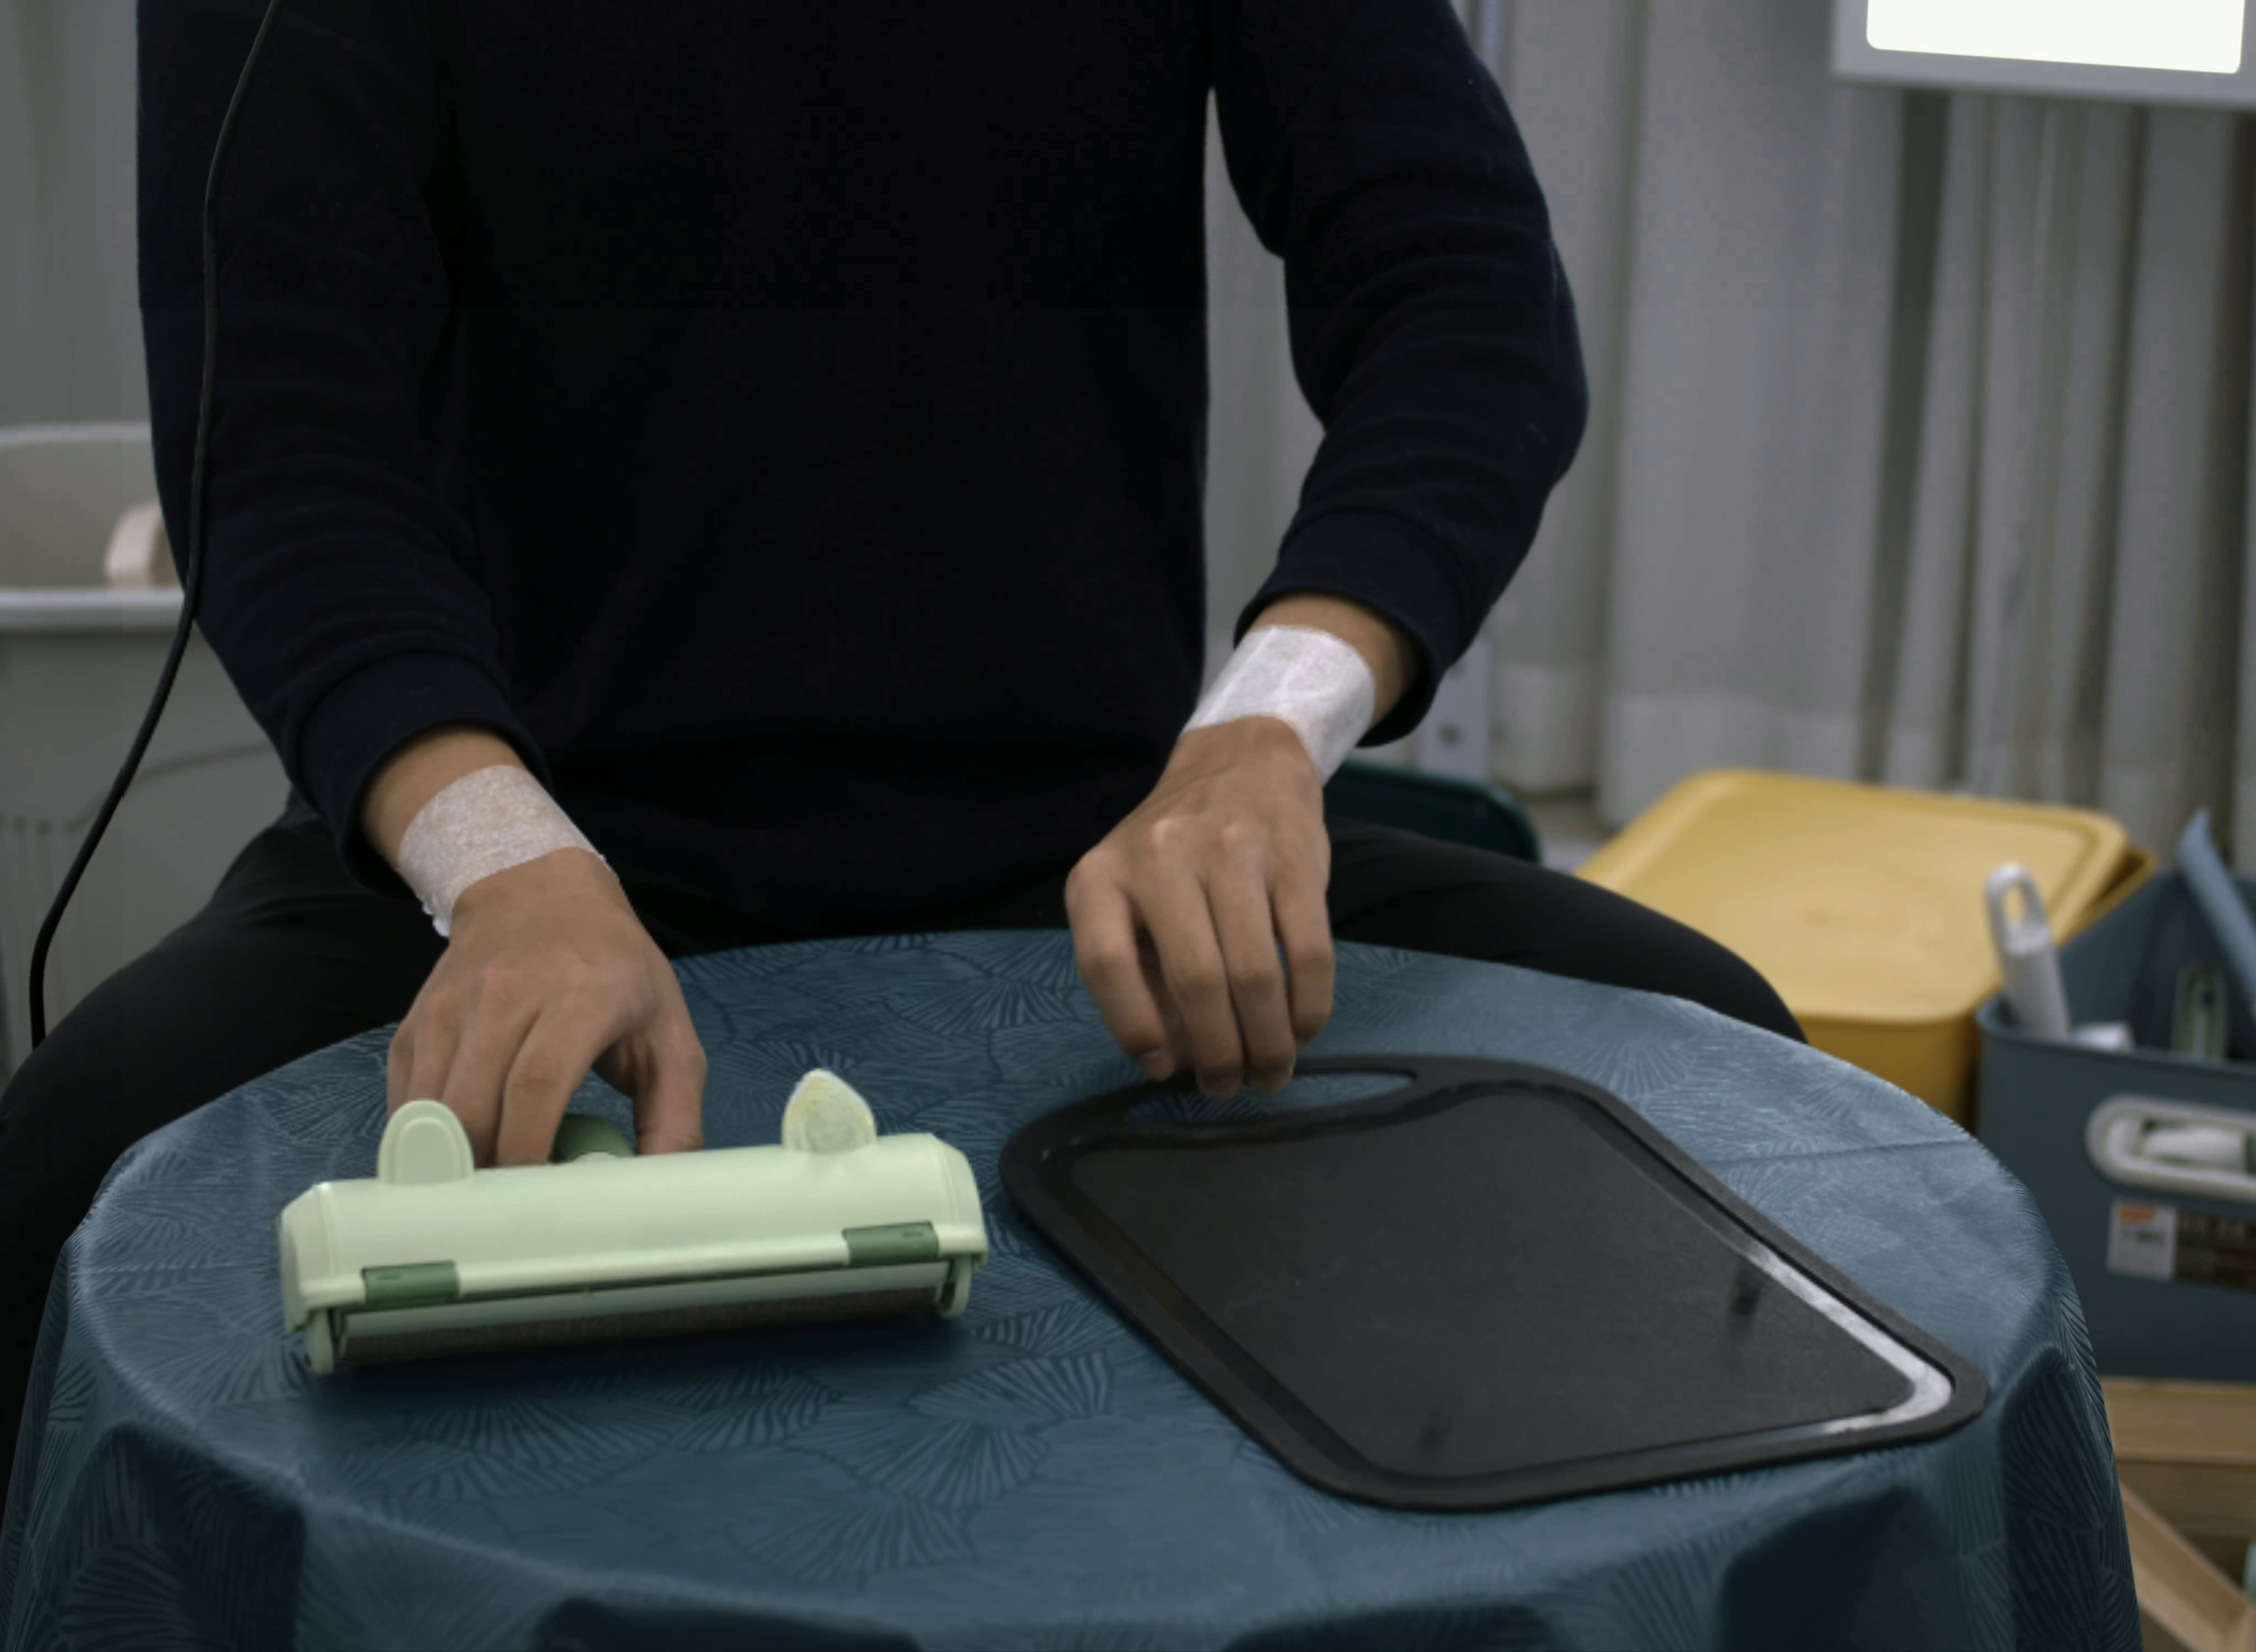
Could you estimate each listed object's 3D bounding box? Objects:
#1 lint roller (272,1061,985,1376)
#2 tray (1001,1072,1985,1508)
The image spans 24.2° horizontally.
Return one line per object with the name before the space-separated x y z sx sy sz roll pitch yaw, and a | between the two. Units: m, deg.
lint roller | -0.155 0.092 1.530 0.199 0.083 0.181 -3 23 -16
tray | 0.095 0.127 1.548 0.212 0.010 0.321 -5 19 -21
